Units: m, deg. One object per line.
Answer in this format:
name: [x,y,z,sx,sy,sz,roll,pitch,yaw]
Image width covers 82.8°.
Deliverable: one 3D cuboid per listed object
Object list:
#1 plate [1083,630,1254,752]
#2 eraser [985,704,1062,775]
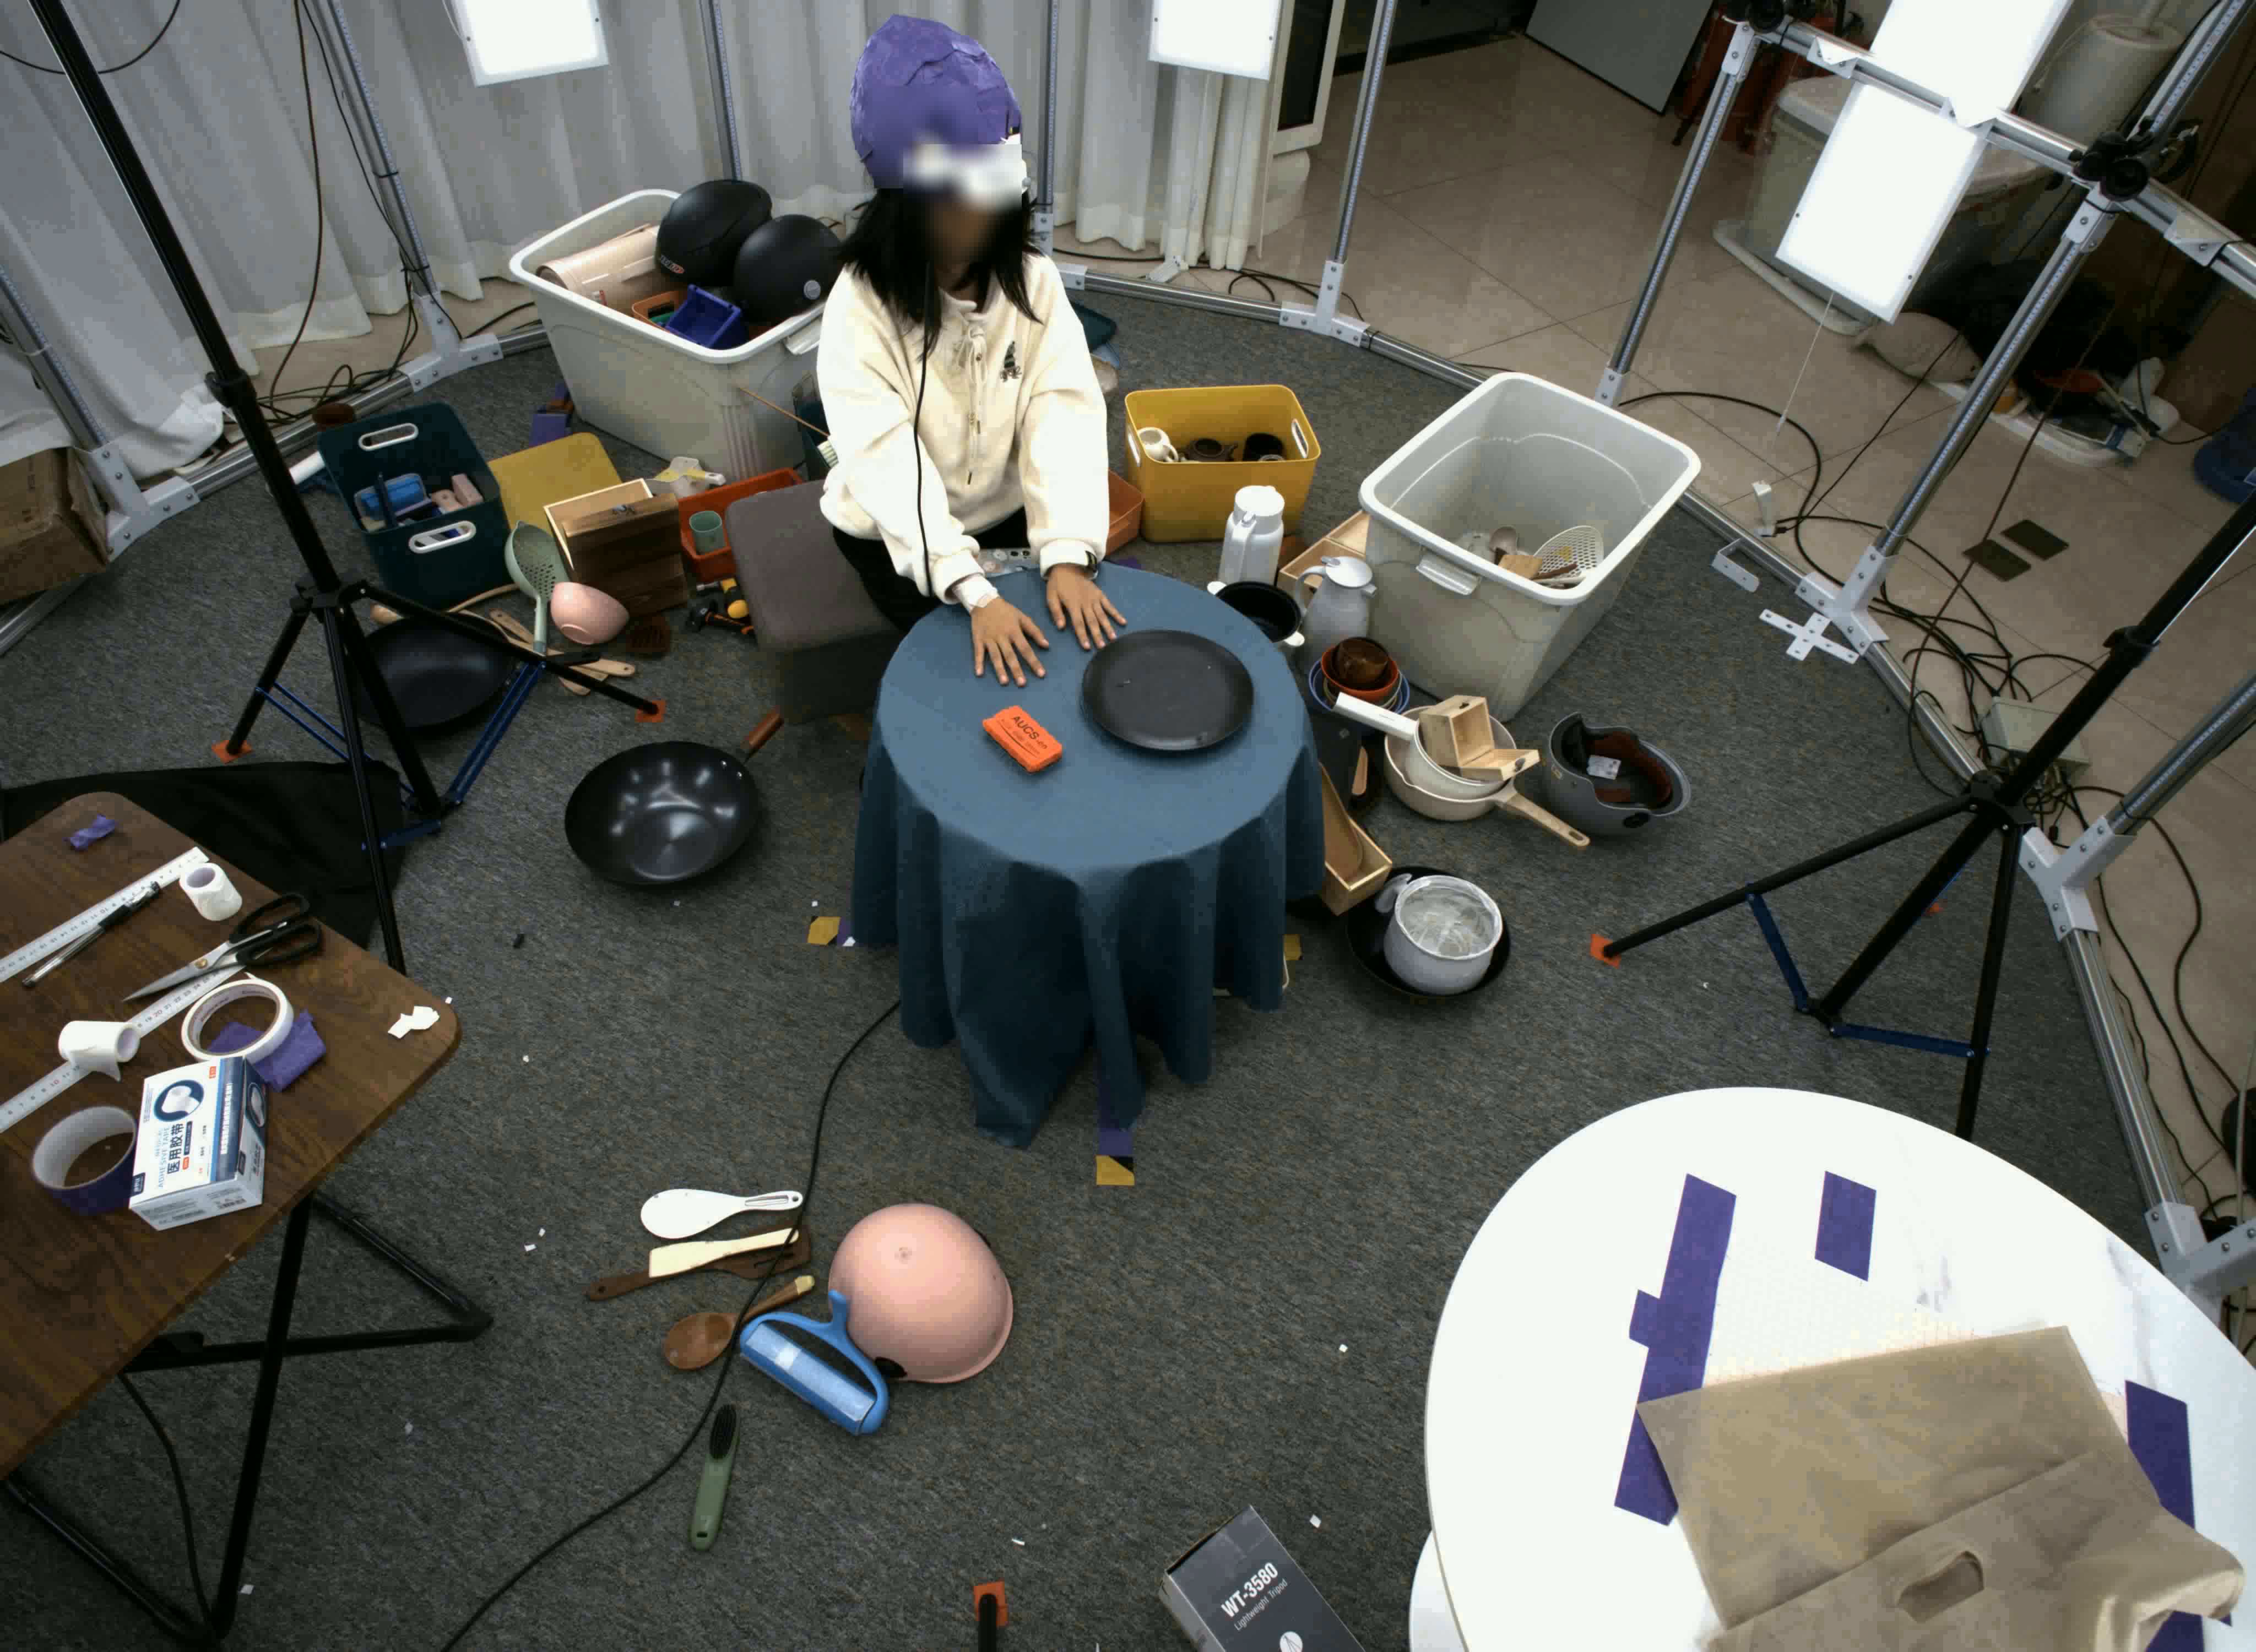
plate: [0.057,-0.191,1.824,0.244,0.023,0.250,2,49,-2]
eraser: [-0.143,-0.119,1.745,0.059,0.022,0.110,-33,61,-26]
